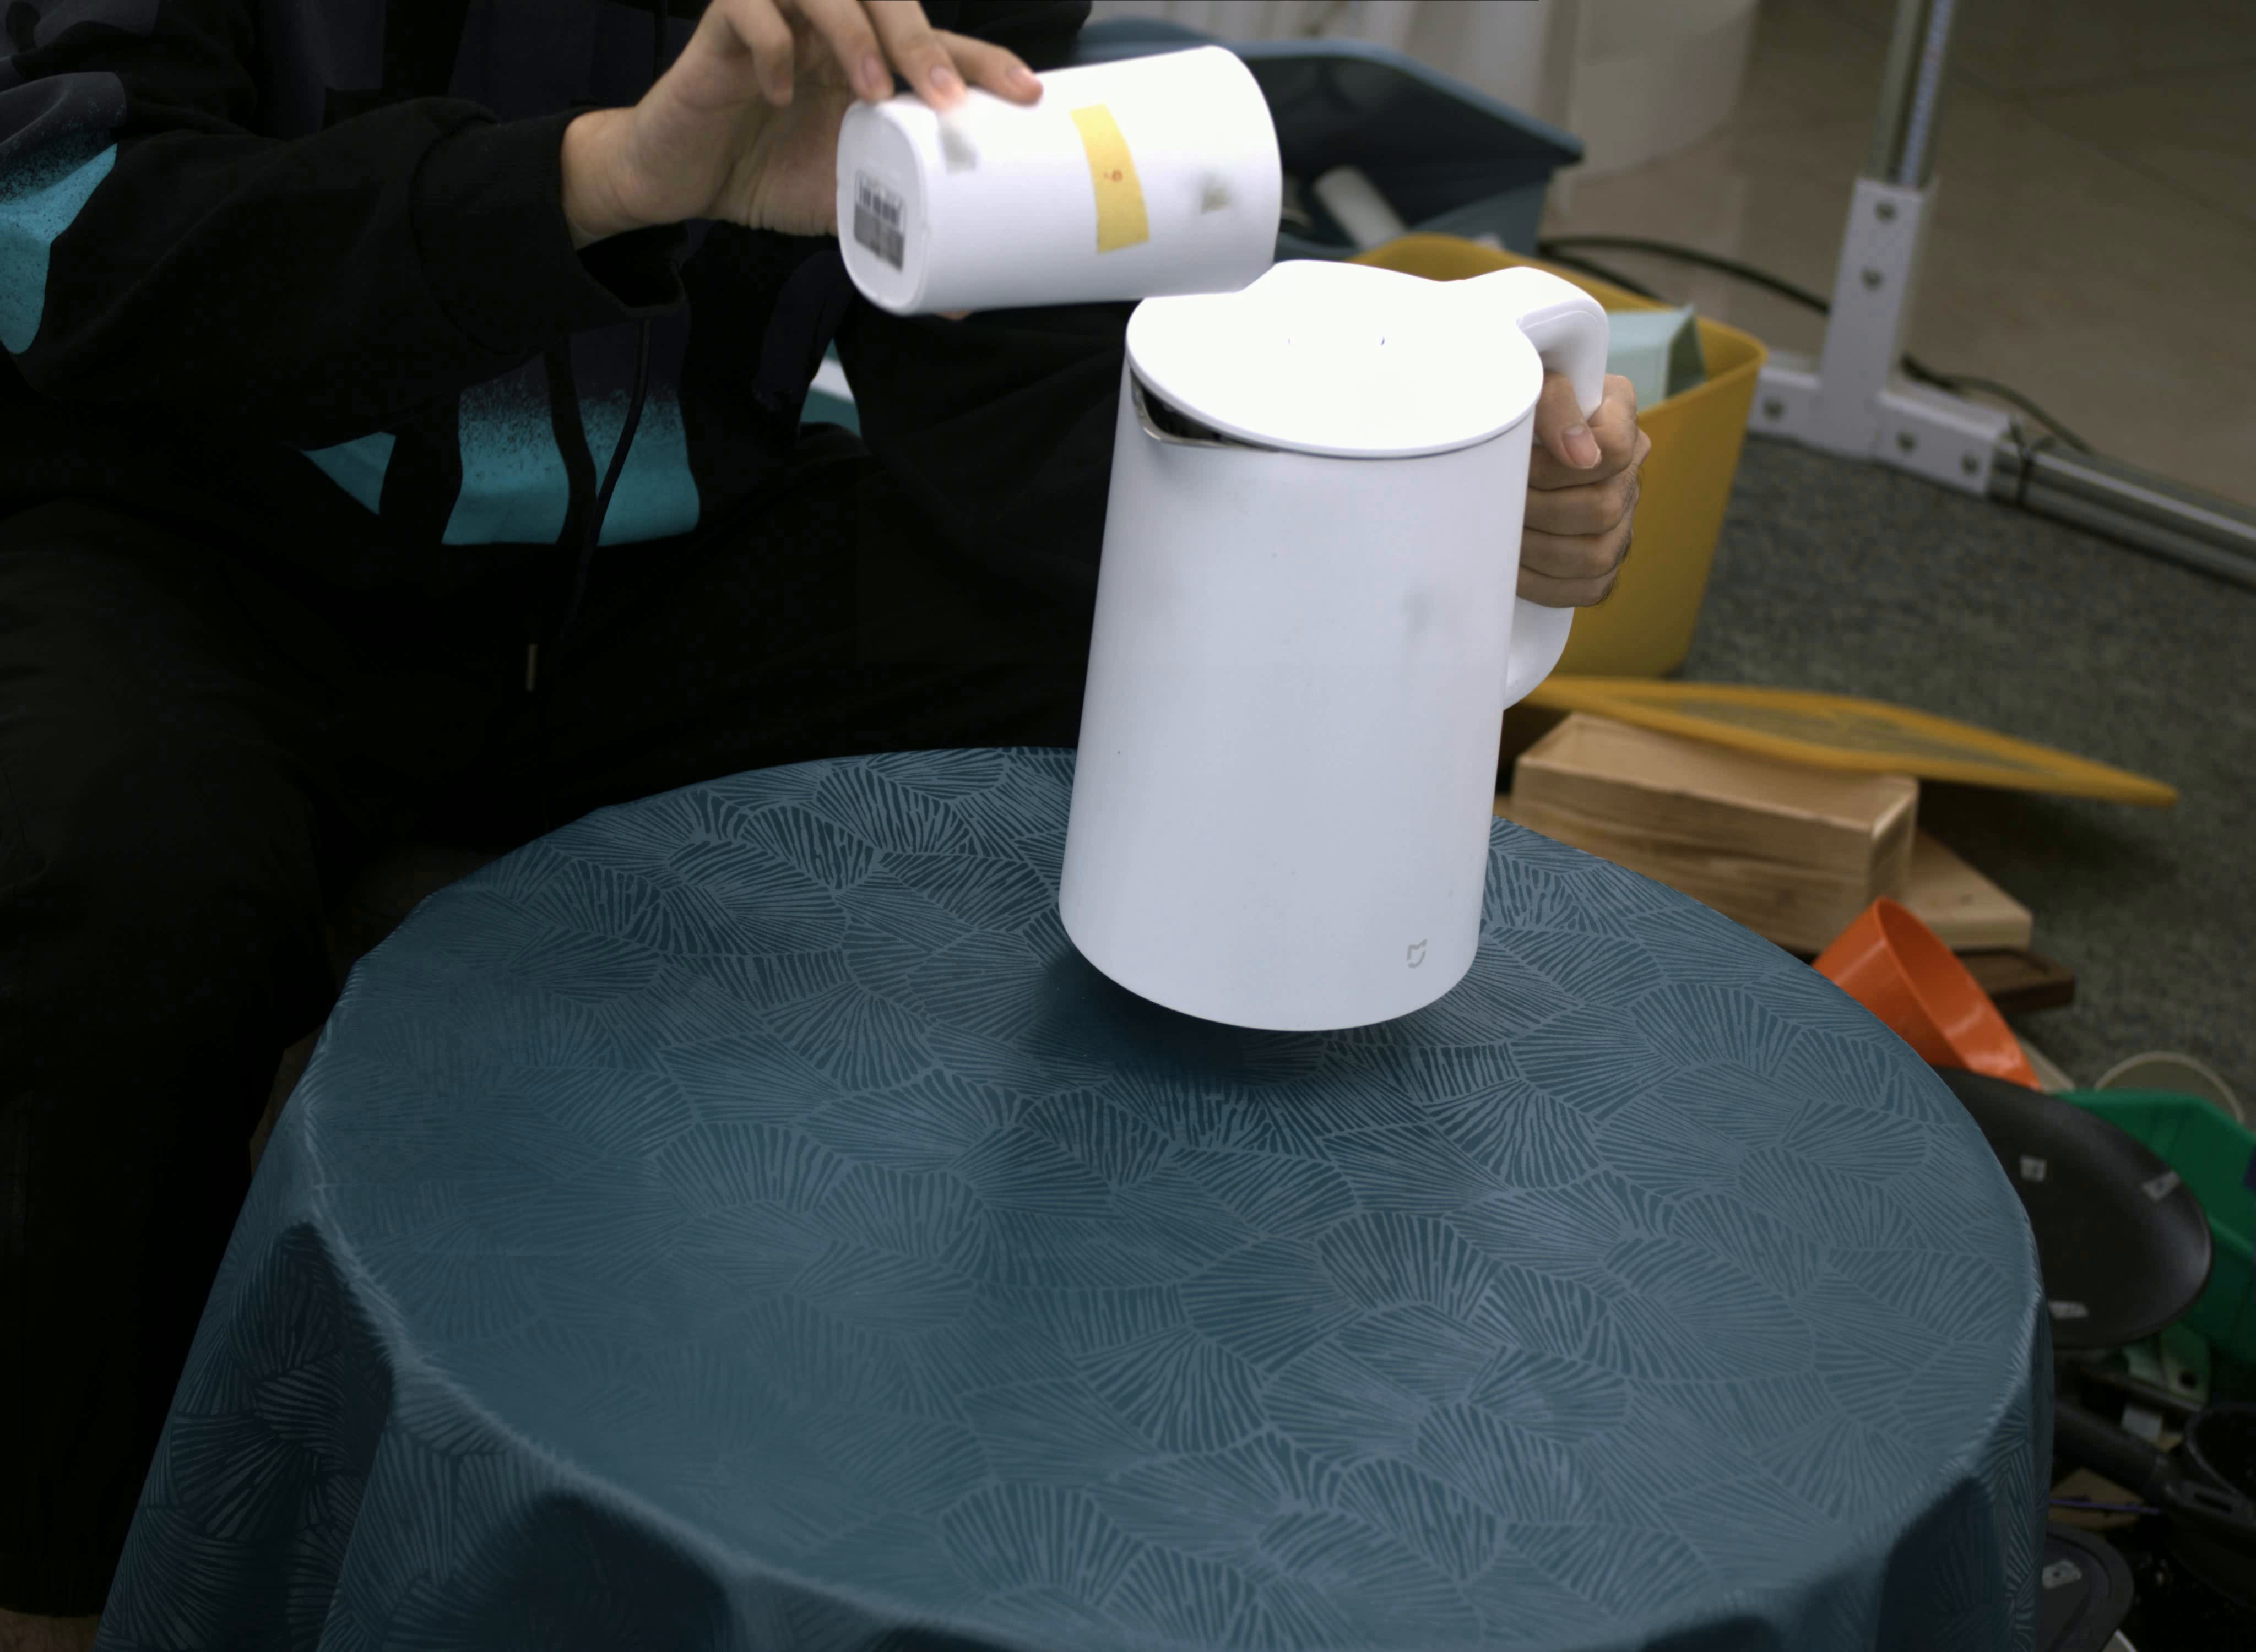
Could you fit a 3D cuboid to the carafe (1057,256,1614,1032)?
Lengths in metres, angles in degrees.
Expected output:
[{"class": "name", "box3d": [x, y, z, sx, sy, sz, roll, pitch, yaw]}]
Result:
[{"class": "carafe", "box3d": [0.080, -0.071, 1.876, 0.212, 0.239, 0.153, -21, 40, -37]}]

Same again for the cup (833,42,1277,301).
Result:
[{"class": "cup", "box3d": [-0.026, -0.207, 1.712, 0.124, 0.081, 0.082, -8, 30, -28]}]
